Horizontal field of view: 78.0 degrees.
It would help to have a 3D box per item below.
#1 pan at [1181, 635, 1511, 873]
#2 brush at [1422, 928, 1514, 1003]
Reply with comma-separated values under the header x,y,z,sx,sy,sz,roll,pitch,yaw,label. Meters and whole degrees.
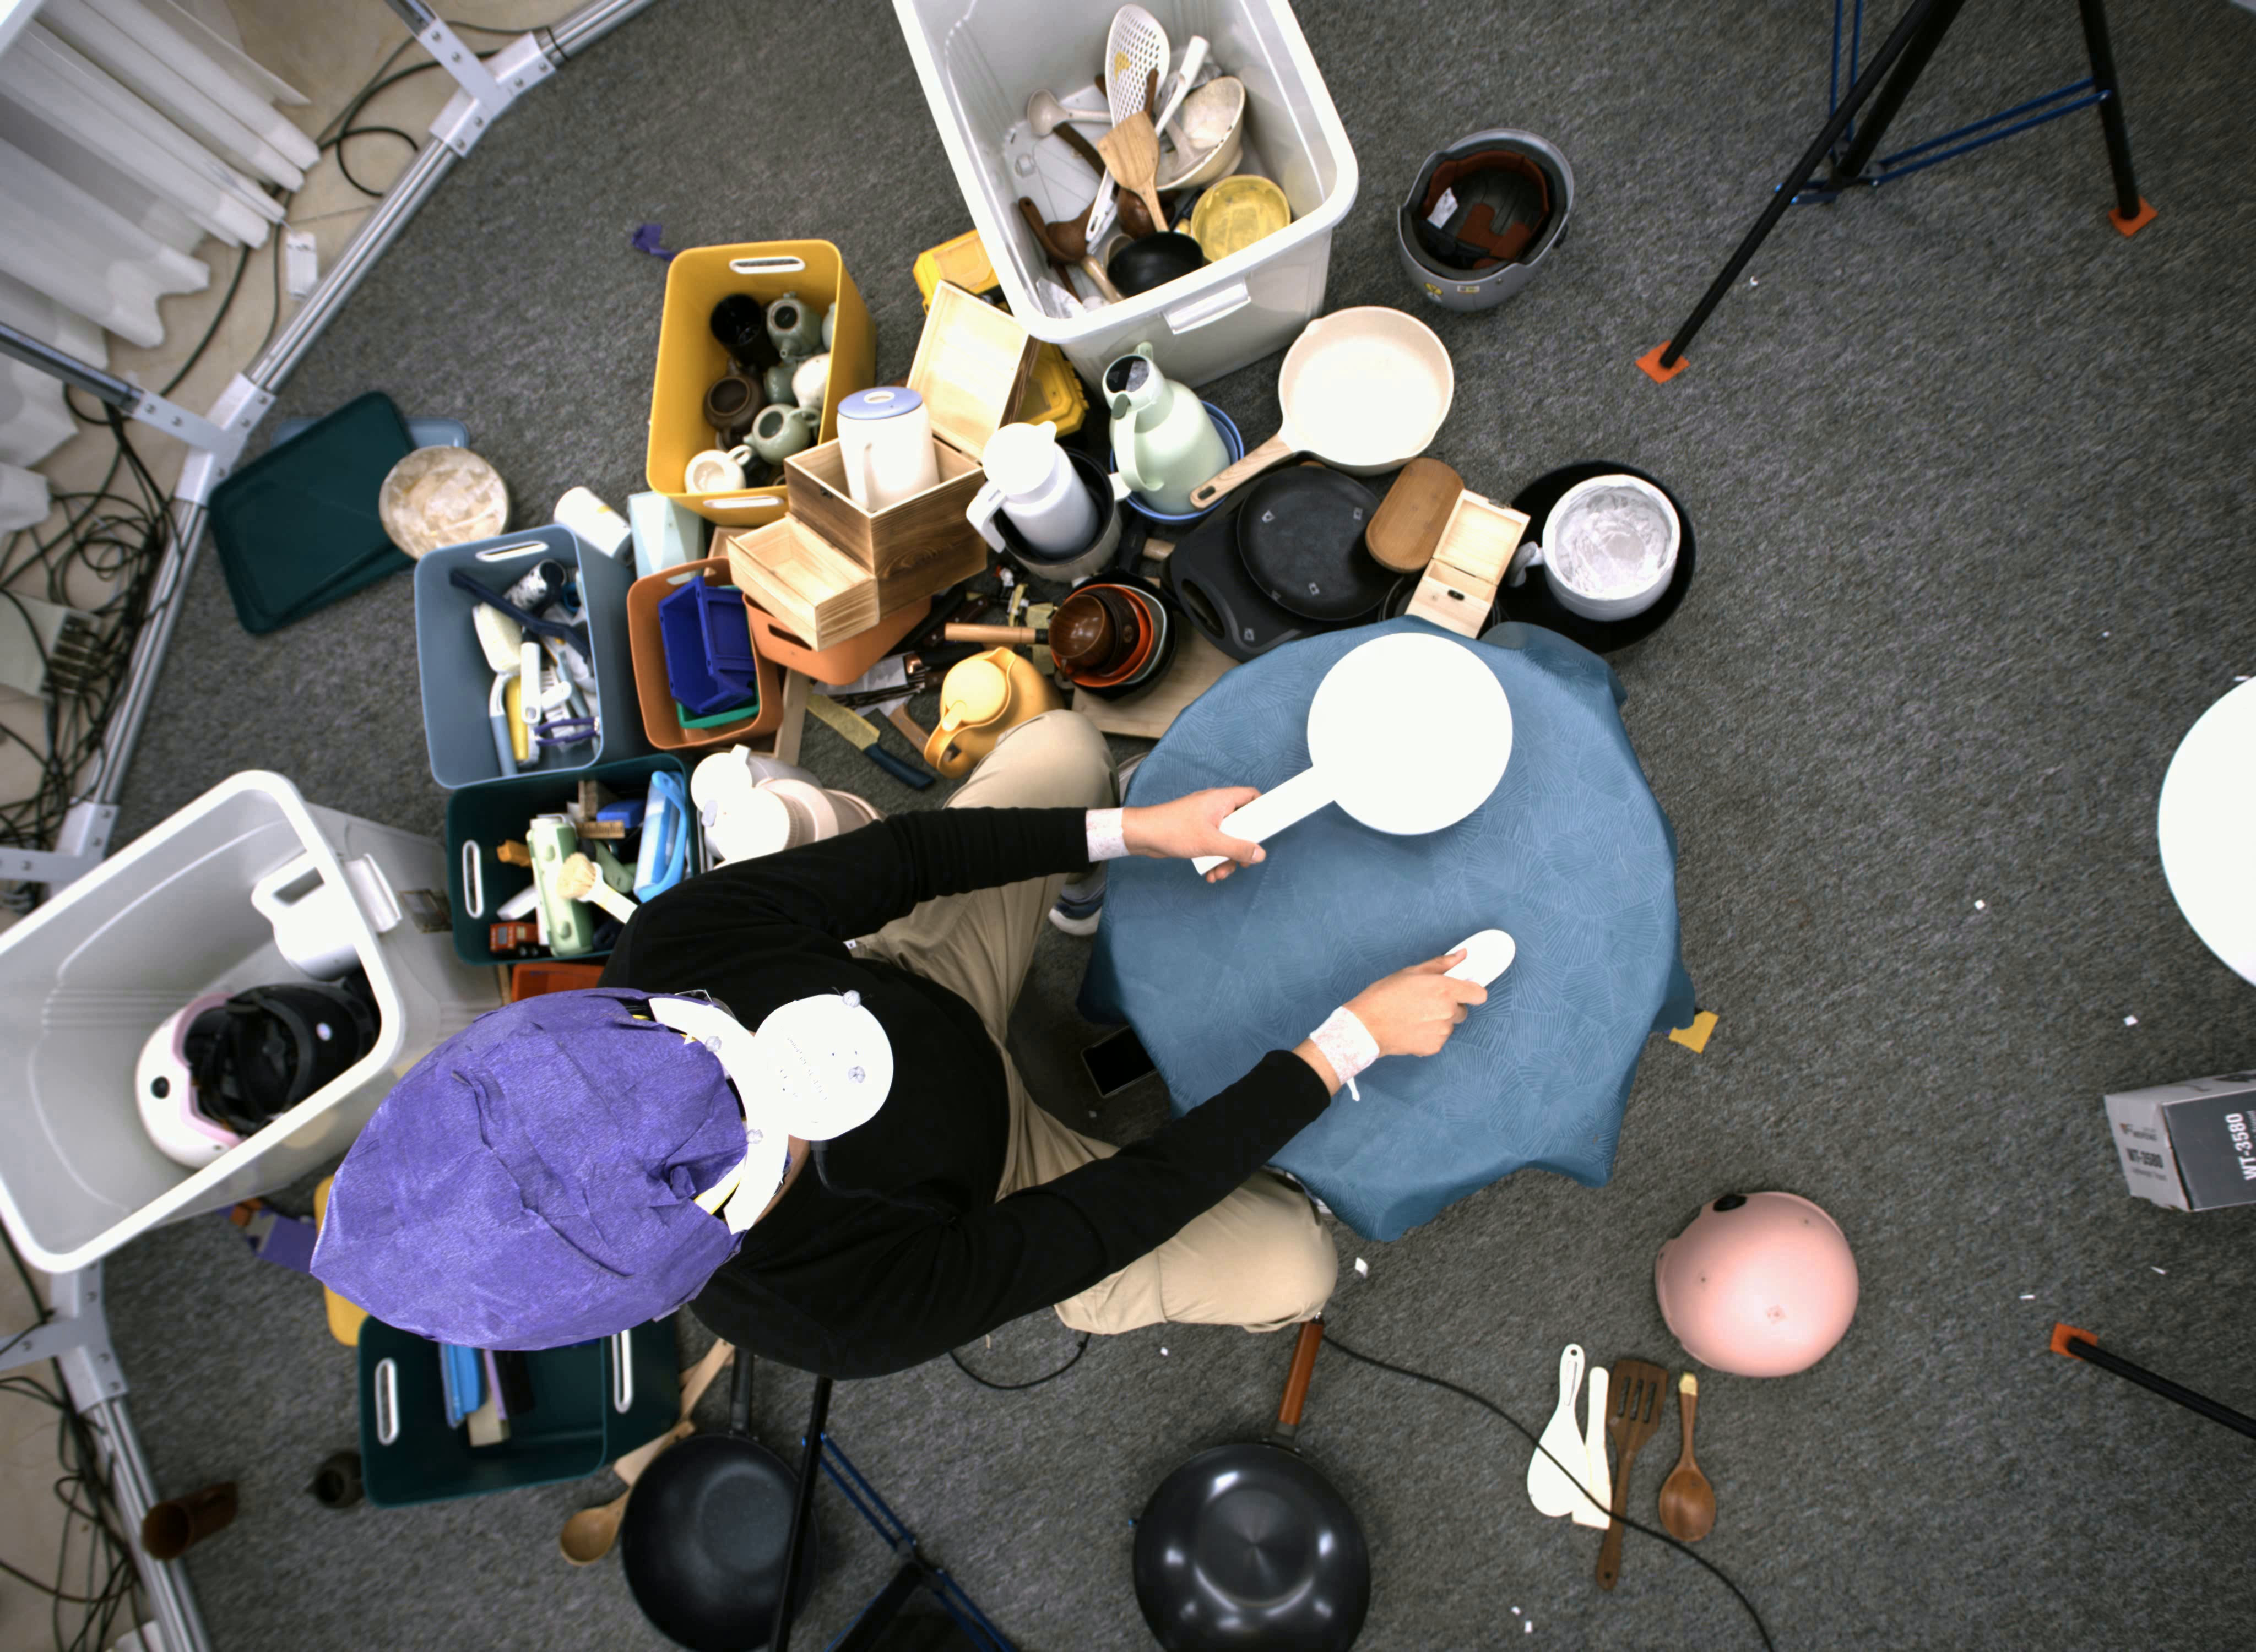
x,y,z,sx,sy,sz,roll,pitch,yaw,label
0.221,-0.052,1.428,0.357,0.102,0.200,-30,83,8,pan
0.347,0.141,1.404,0.100,0.072,0.050,-35,83,6,brush
